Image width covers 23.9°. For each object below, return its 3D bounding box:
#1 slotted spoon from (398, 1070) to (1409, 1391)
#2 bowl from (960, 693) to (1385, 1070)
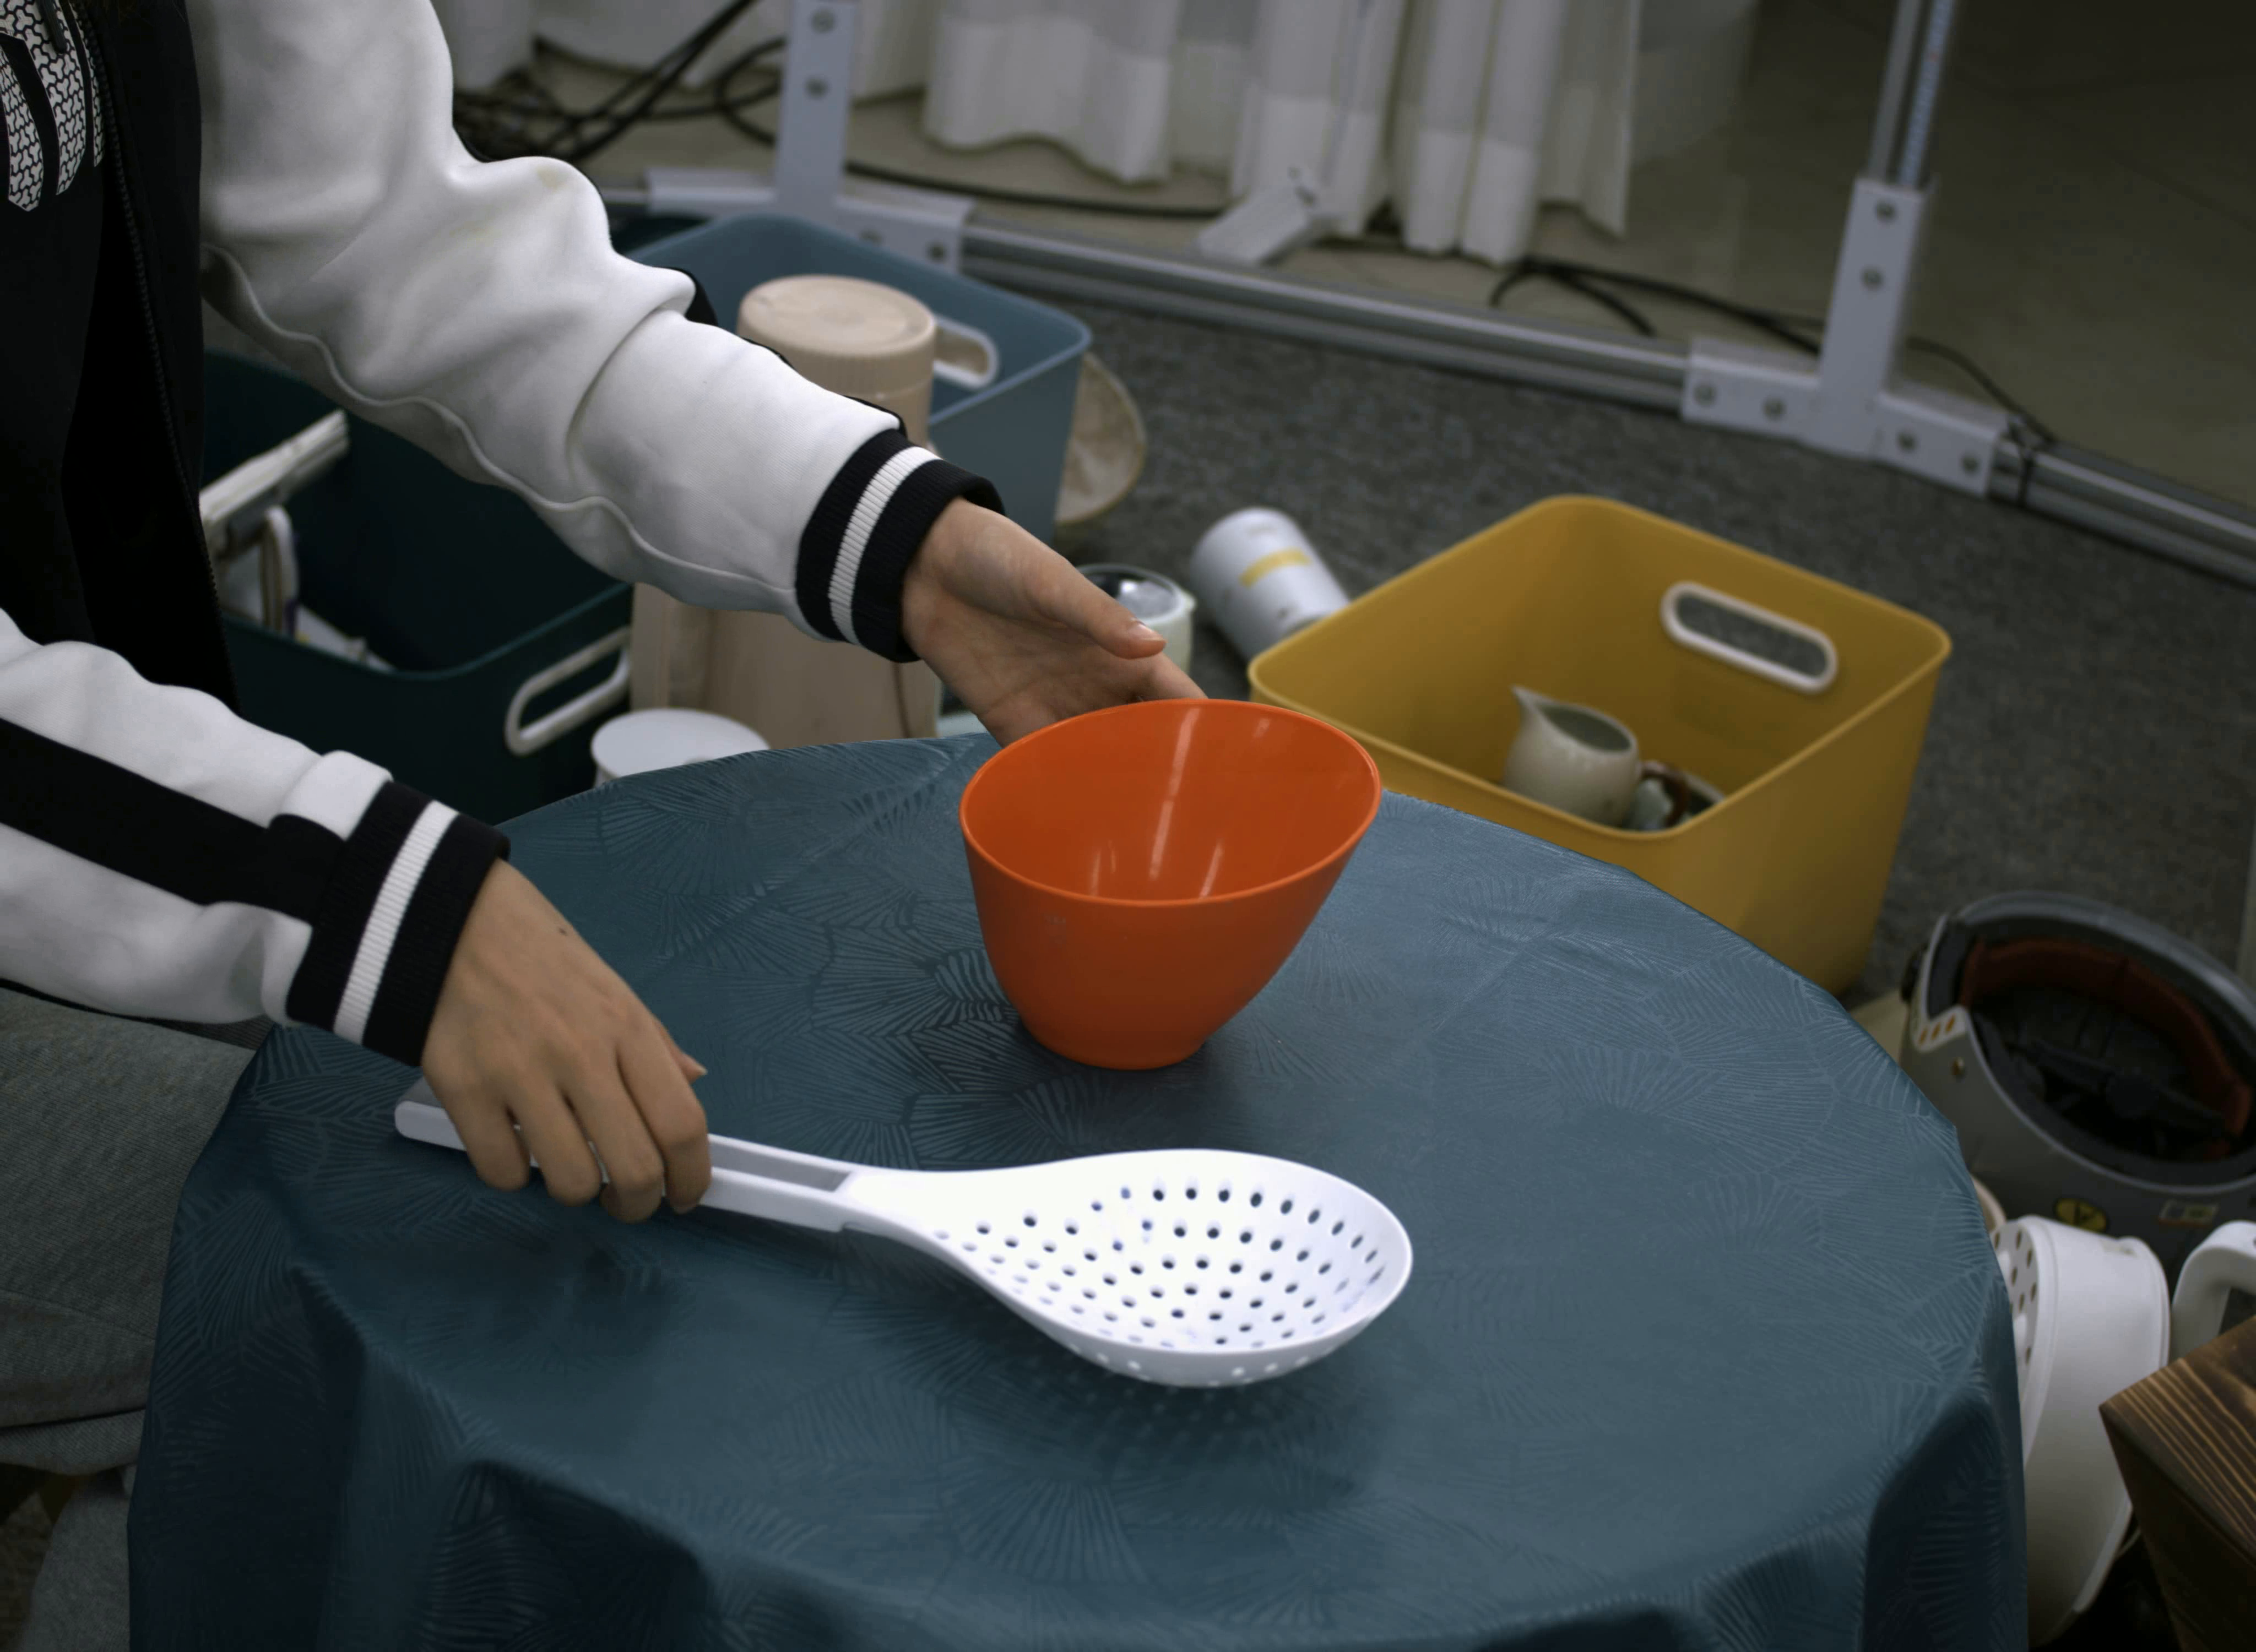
[{"bbox_3d":[-0.079,0.123,1.735,0.350,0.045,0.136,15,26,17],"label":"slotted spoon"},{"bbox_3d":[0.011,0.026,1.883,0.147,0.104,0.149,5,30,-3],"label":"bowl"}]
